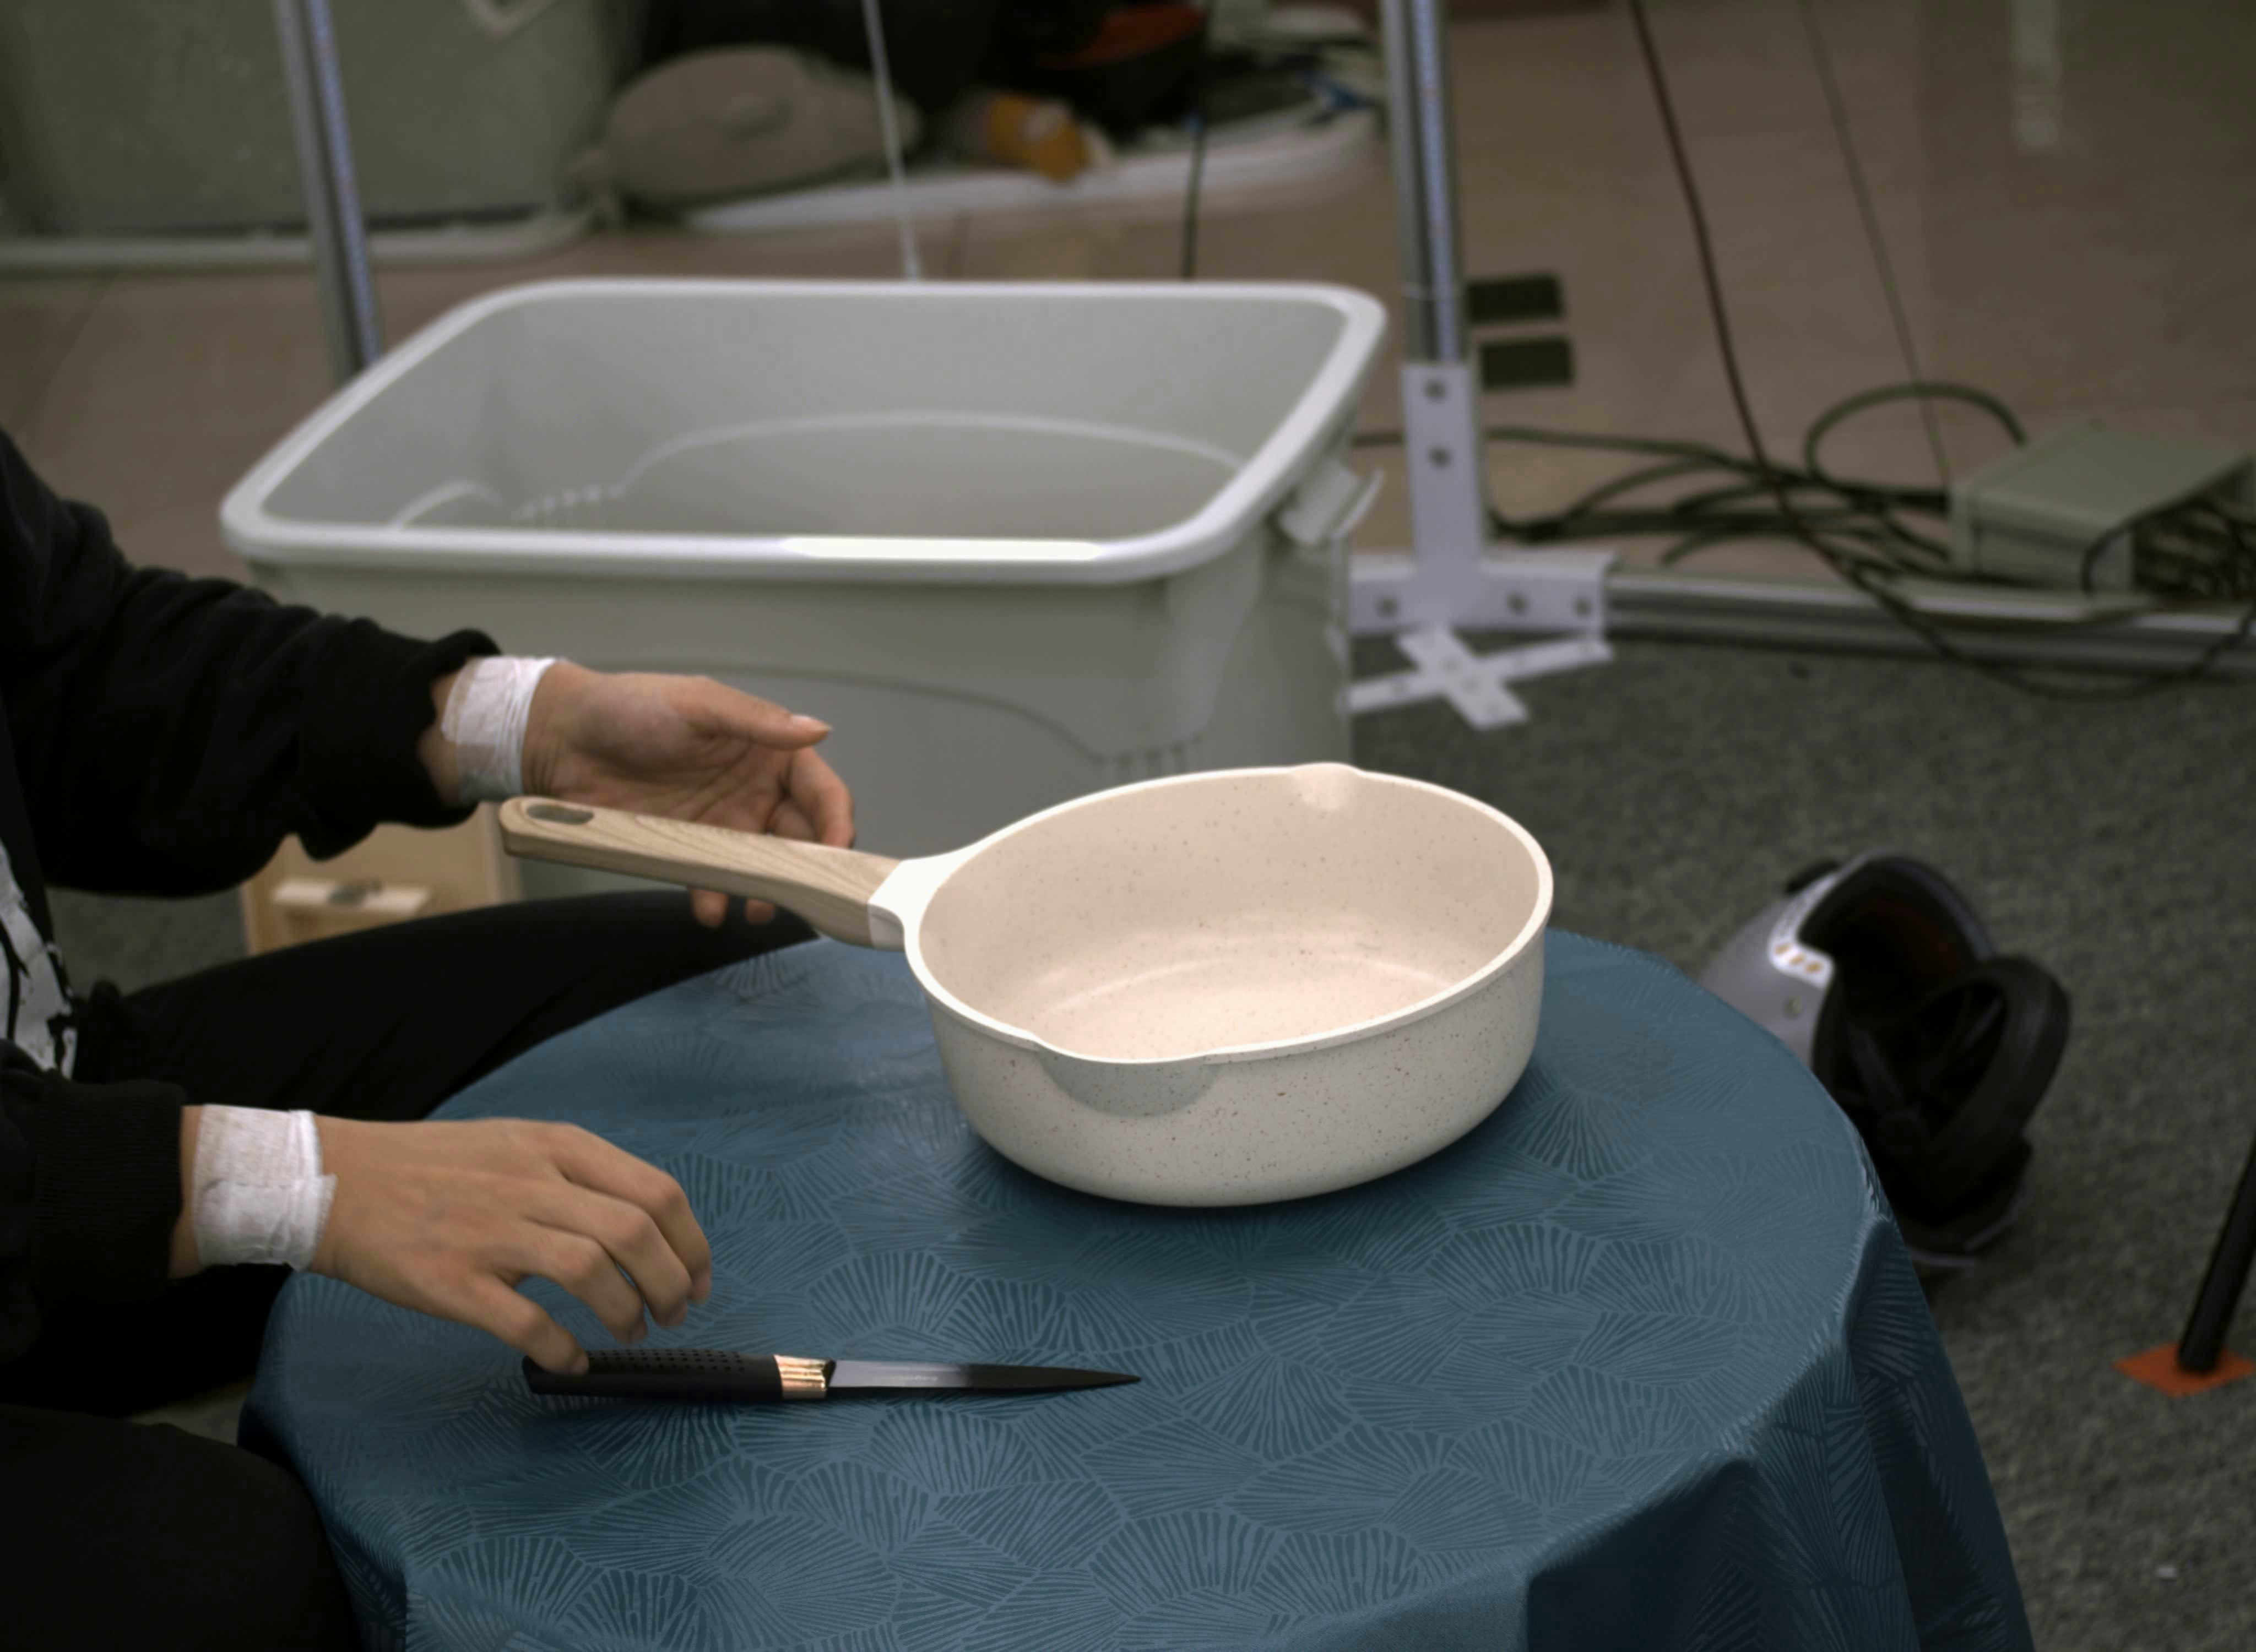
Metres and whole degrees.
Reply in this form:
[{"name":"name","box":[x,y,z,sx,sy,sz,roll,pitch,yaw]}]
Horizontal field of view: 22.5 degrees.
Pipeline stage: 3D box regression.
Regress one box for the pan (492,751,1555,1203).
[{"name":"pan","box":[-0.044,0.052,2.228,0.434,0.103,0.259,3,28,20]}]

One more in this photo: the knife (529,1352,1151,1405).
[{"name":"knife","box":[-0.104,0.198,2.040,0.225,0.017,0.026,-2,10,8]}]
